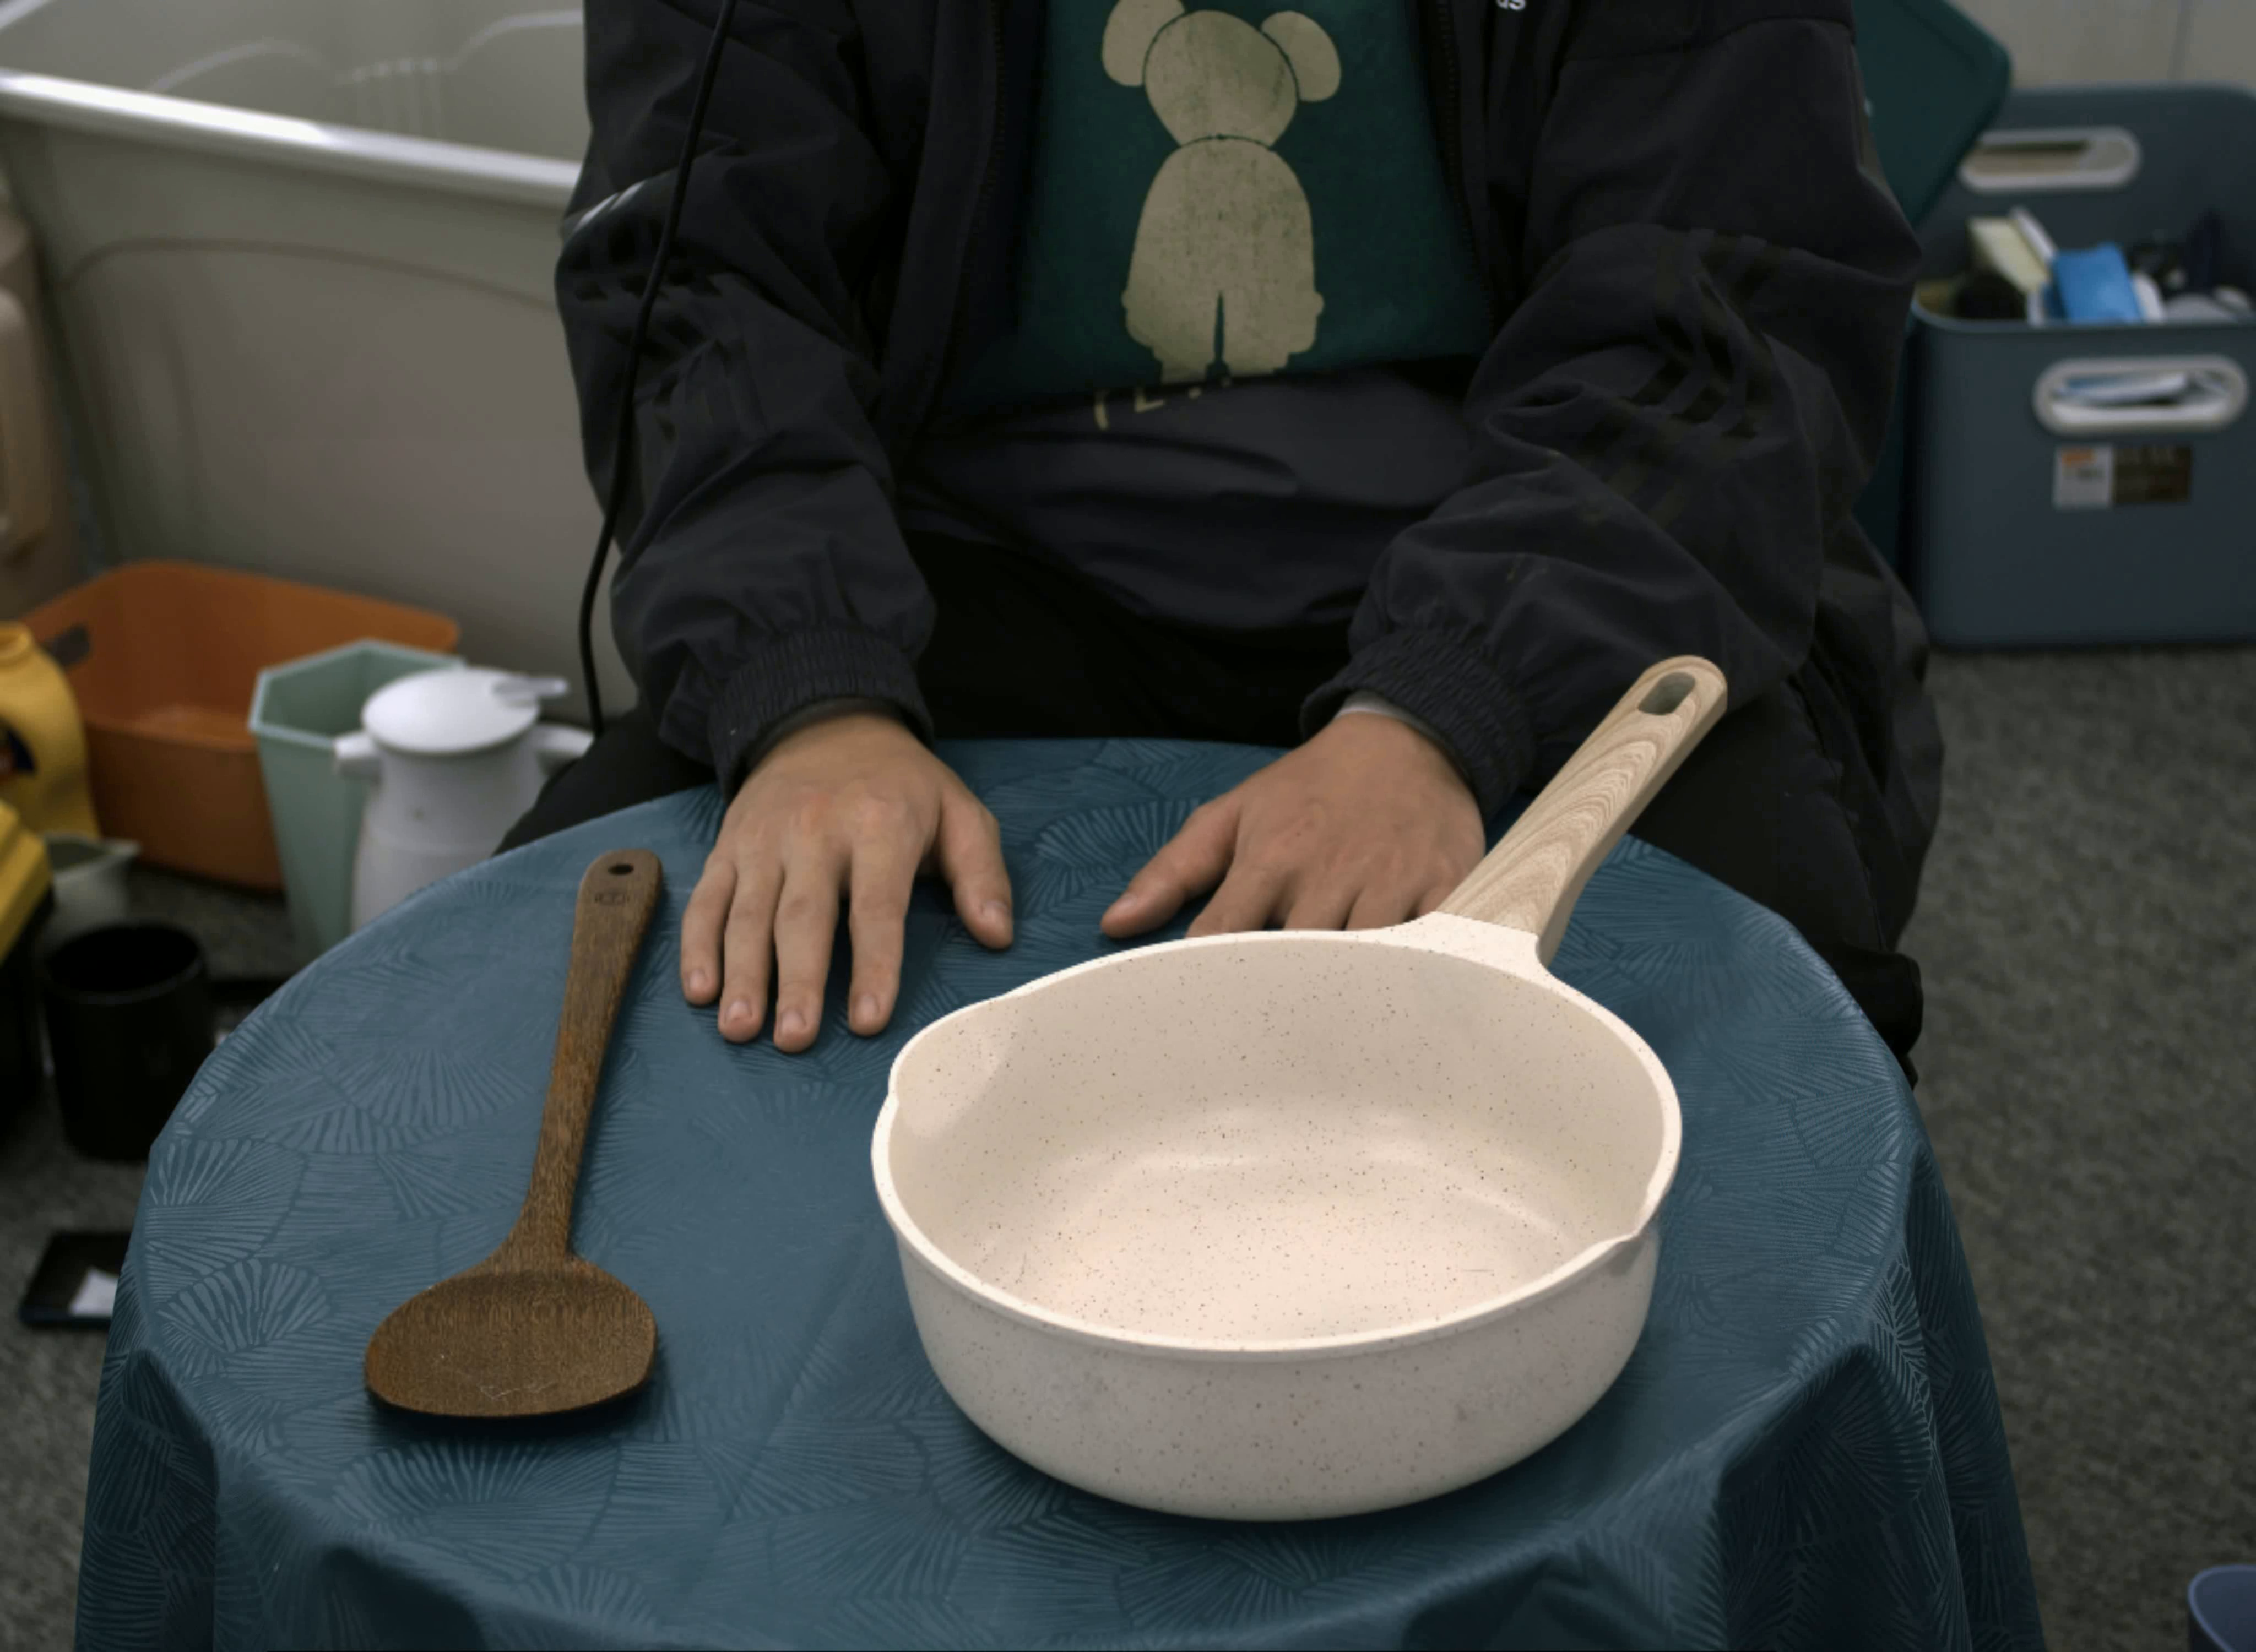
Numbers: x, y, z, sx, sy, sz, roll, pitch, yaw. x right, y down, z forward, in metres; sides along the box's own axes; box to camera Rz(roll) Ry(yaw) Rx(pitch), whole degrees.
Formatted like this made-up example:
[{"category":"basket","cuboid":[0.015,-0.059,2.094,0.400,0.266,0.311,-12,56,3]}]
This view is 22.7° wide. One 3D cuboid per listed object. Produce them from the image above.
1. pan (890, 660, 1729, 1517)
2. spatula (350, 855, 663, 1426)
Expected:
[{"category":"pan","cuboid":[0.099,0.081,1.818,0.262,0.101,0.442,10,30,28]},{"category":"spatula","cuboid":[-0.191,0.098,1.907,0.095,0.015,0.392,-1,27,2]}]
